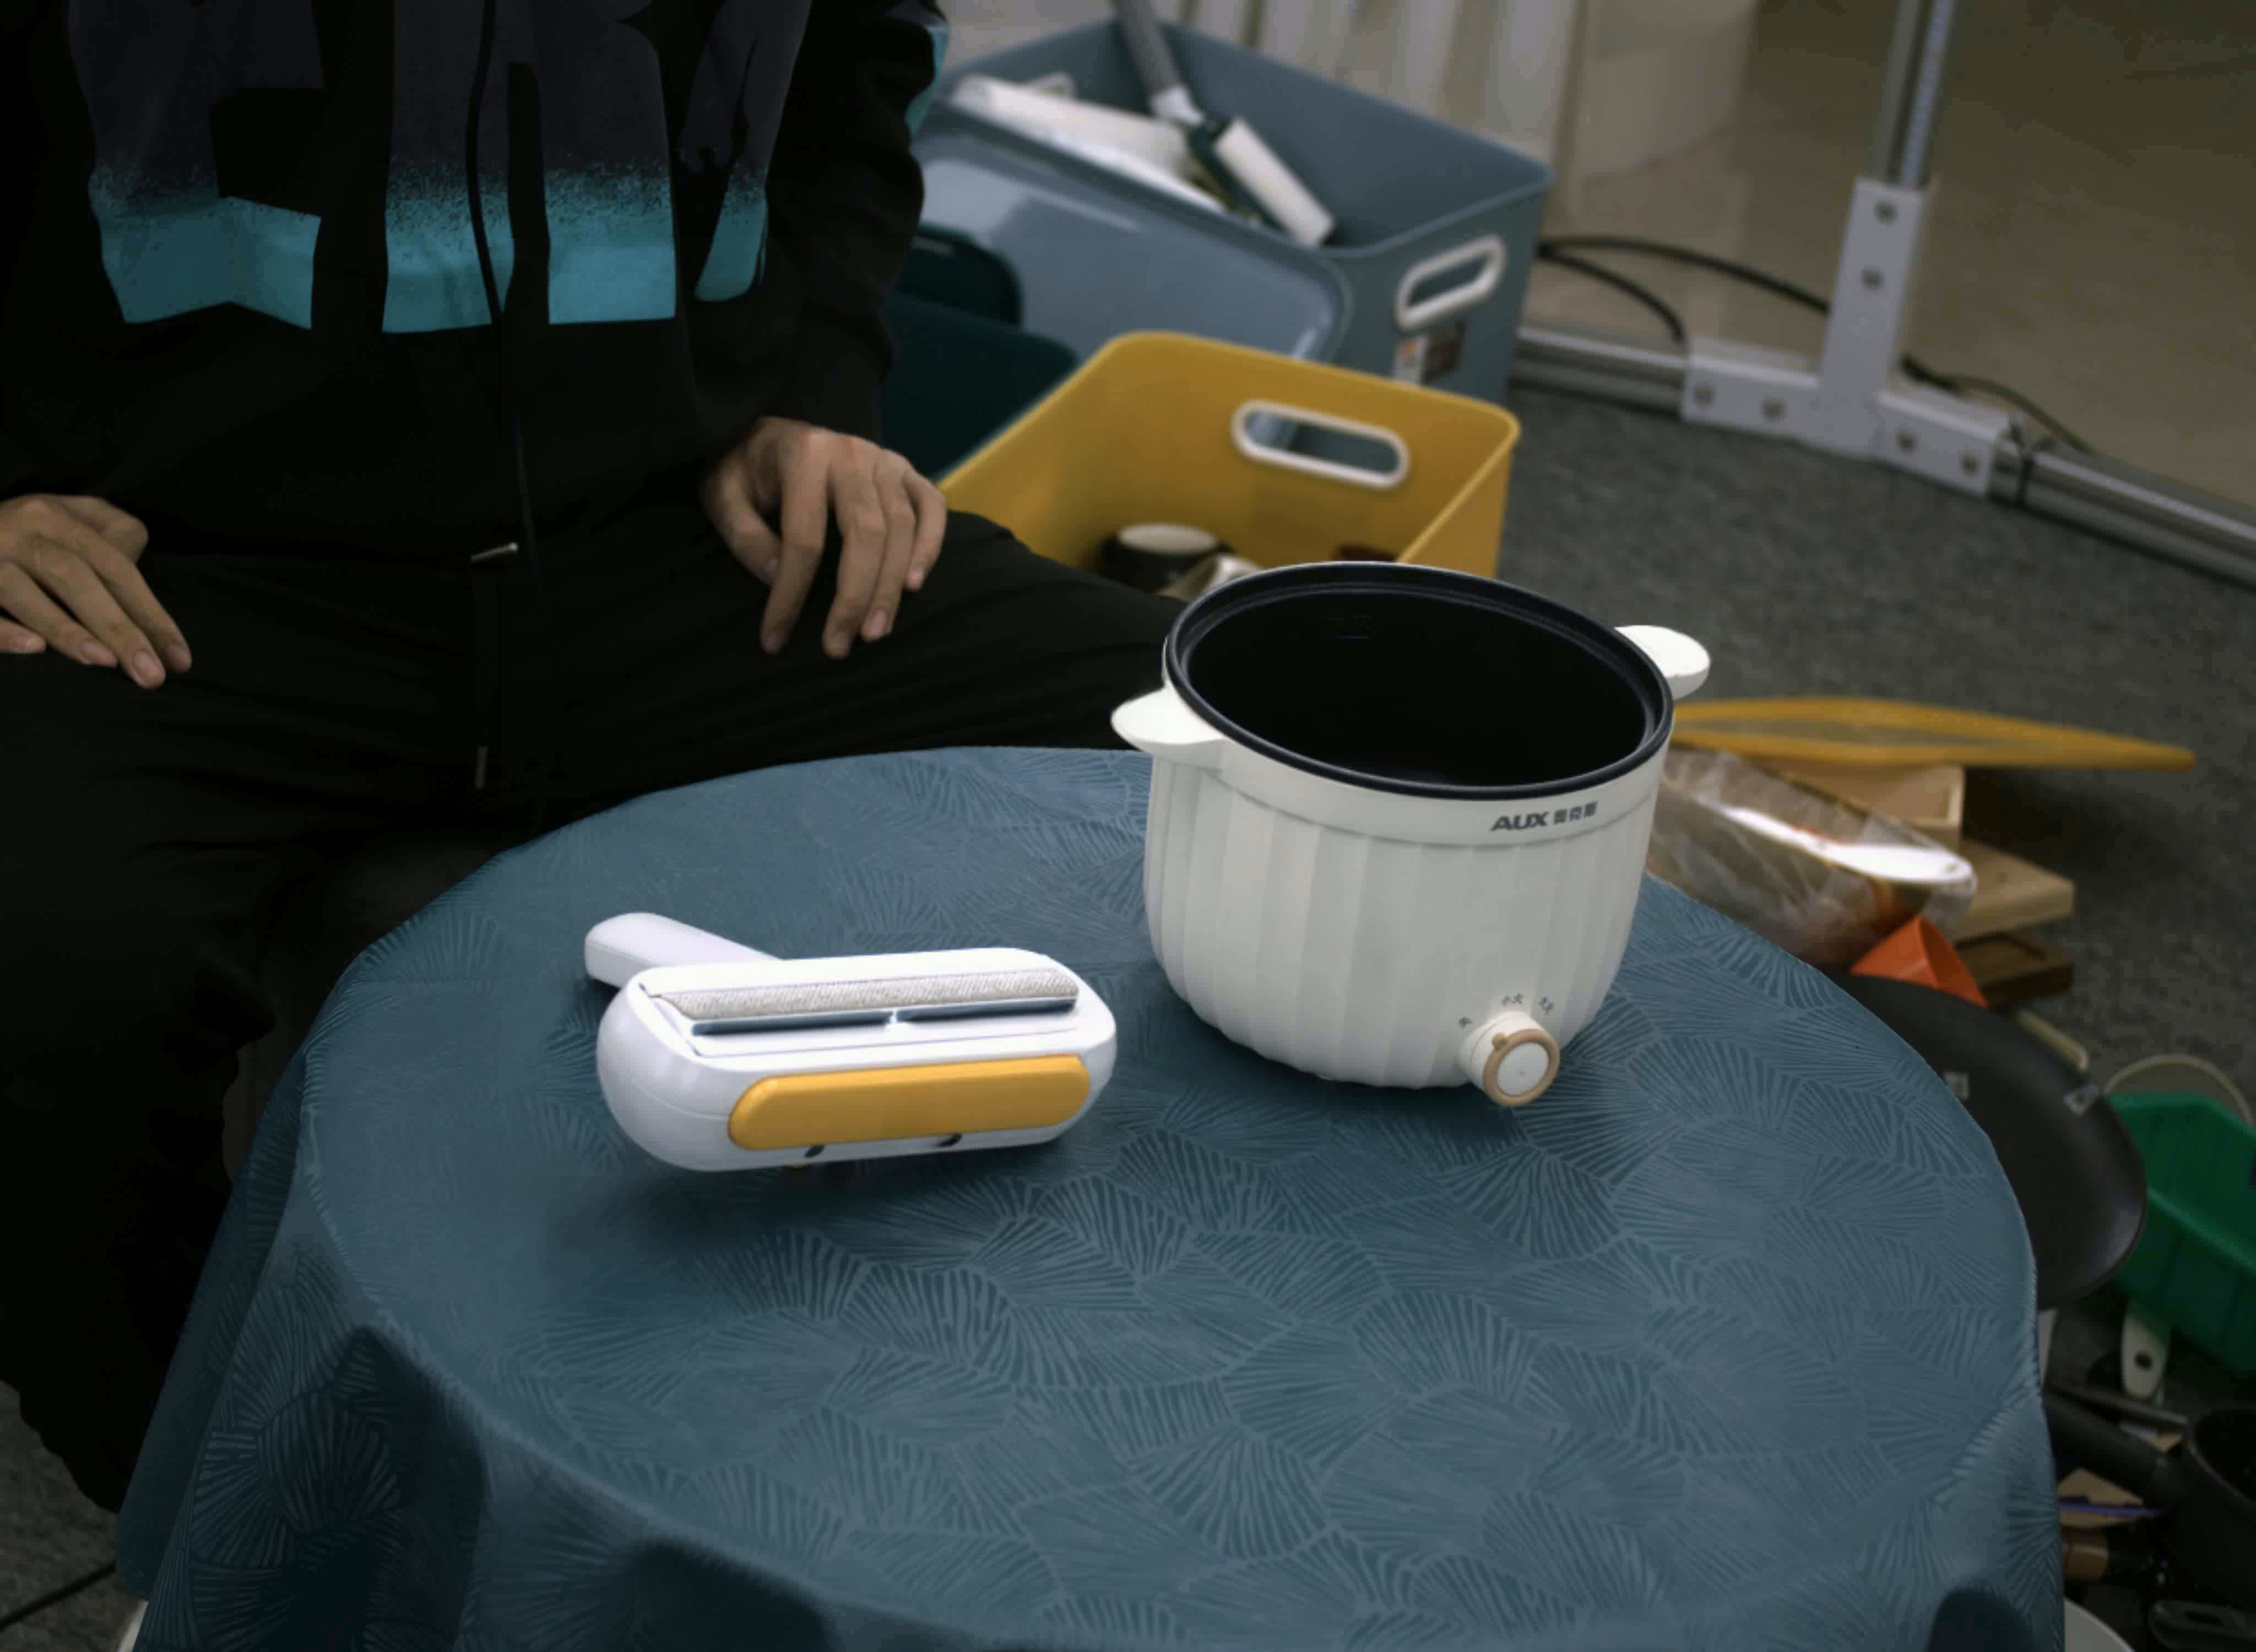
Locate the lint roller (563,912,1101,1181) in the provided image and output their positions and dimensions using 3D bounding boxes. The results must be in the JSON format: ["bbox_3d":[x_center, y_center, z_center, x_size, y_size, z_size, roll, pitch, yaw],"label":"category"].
[{"bbox_3d":[-0.128,0.061,1.820,0.191,0.074,0.194,-5,26,-33],"label":"lint roller"}]

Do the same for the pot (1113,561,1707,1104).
[{"bbox_3d":[0.099,0.006,1.898,0.239,0.142,0.192,-9,28,-26],"label":"pot"}]
